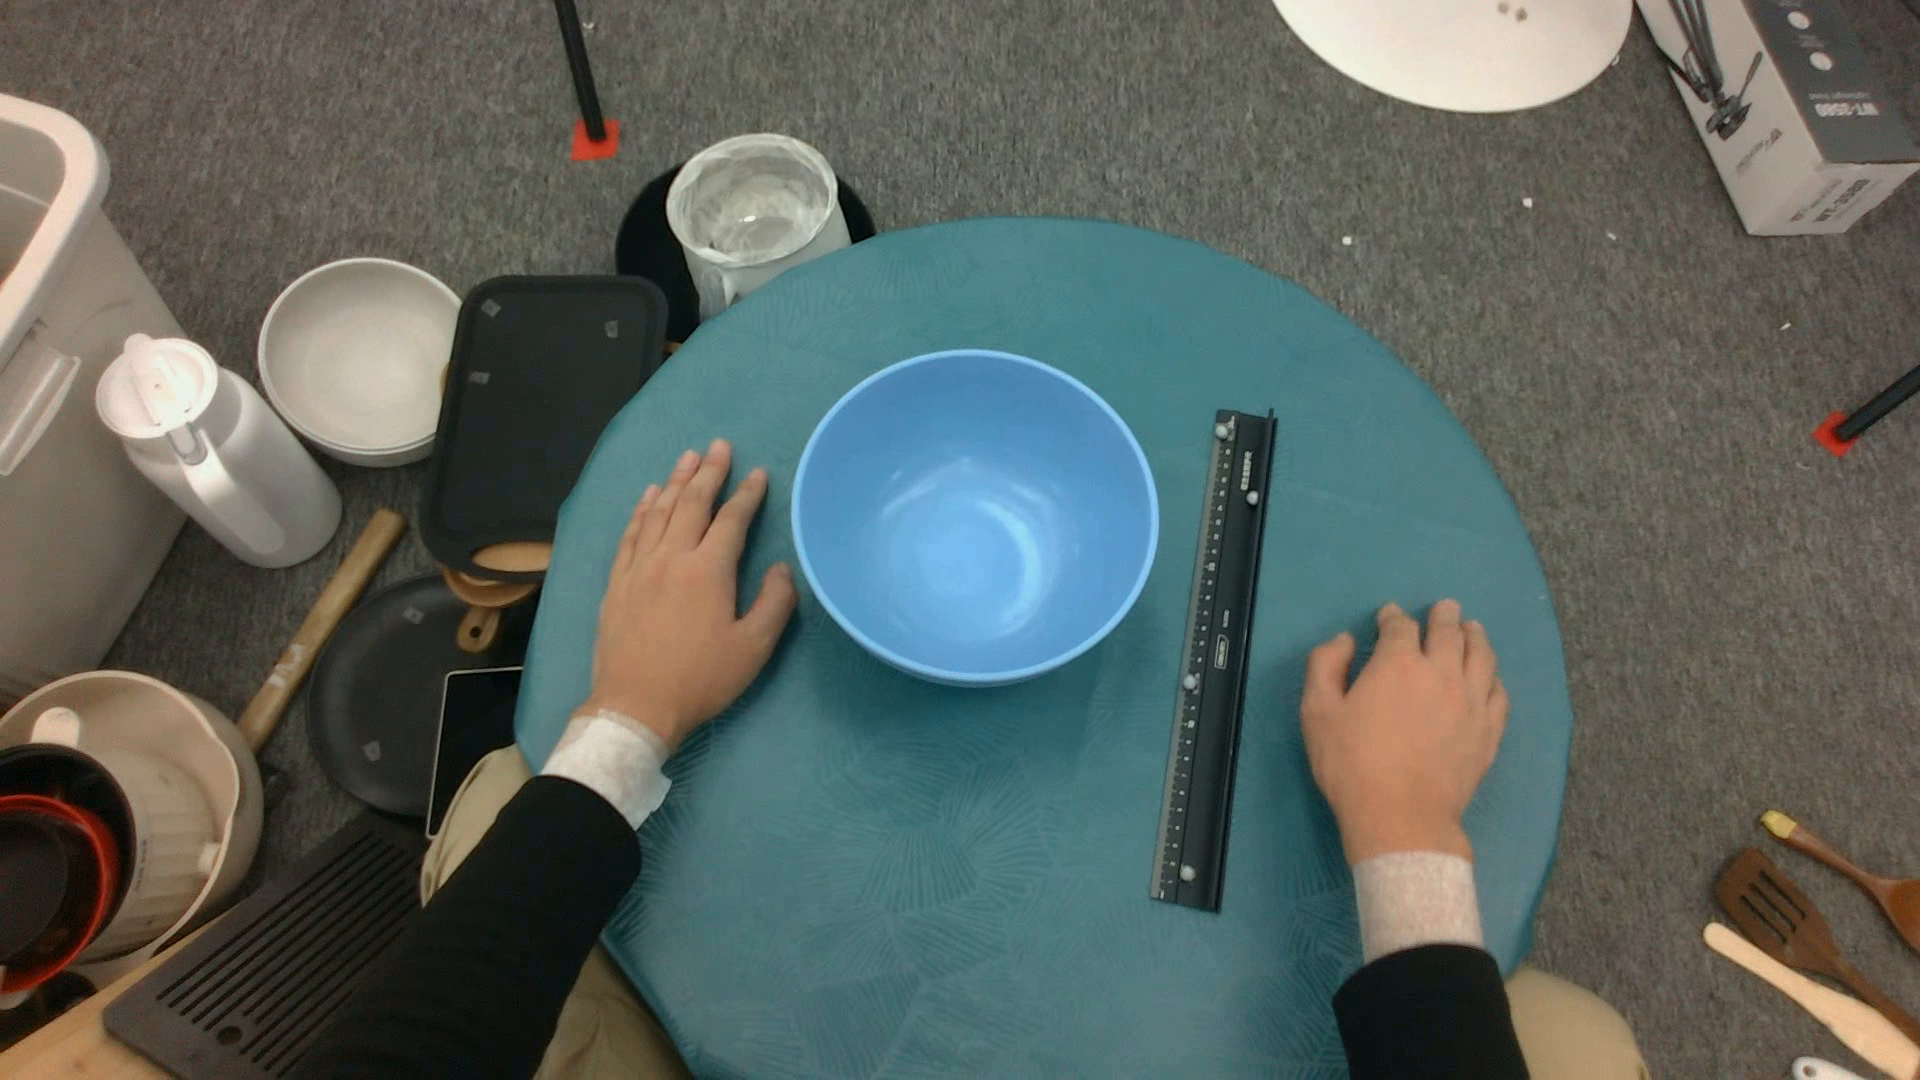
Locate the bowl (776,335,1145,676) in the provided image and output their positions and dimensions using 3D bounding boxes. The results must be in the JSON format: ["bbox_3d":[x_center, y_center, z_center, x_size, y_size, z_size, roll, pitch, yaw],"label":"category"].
[{"bbox_3d":[-0.001,-0.007,0.770,0.196,0.095,0.197,2,65,-3],"label":"bowl"}]

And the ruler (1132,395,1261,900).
[{"bbox_3d":[0.141,0.048,0.799,0.039,0.017,0.314,10,66,5],"label":"ruler"}]
